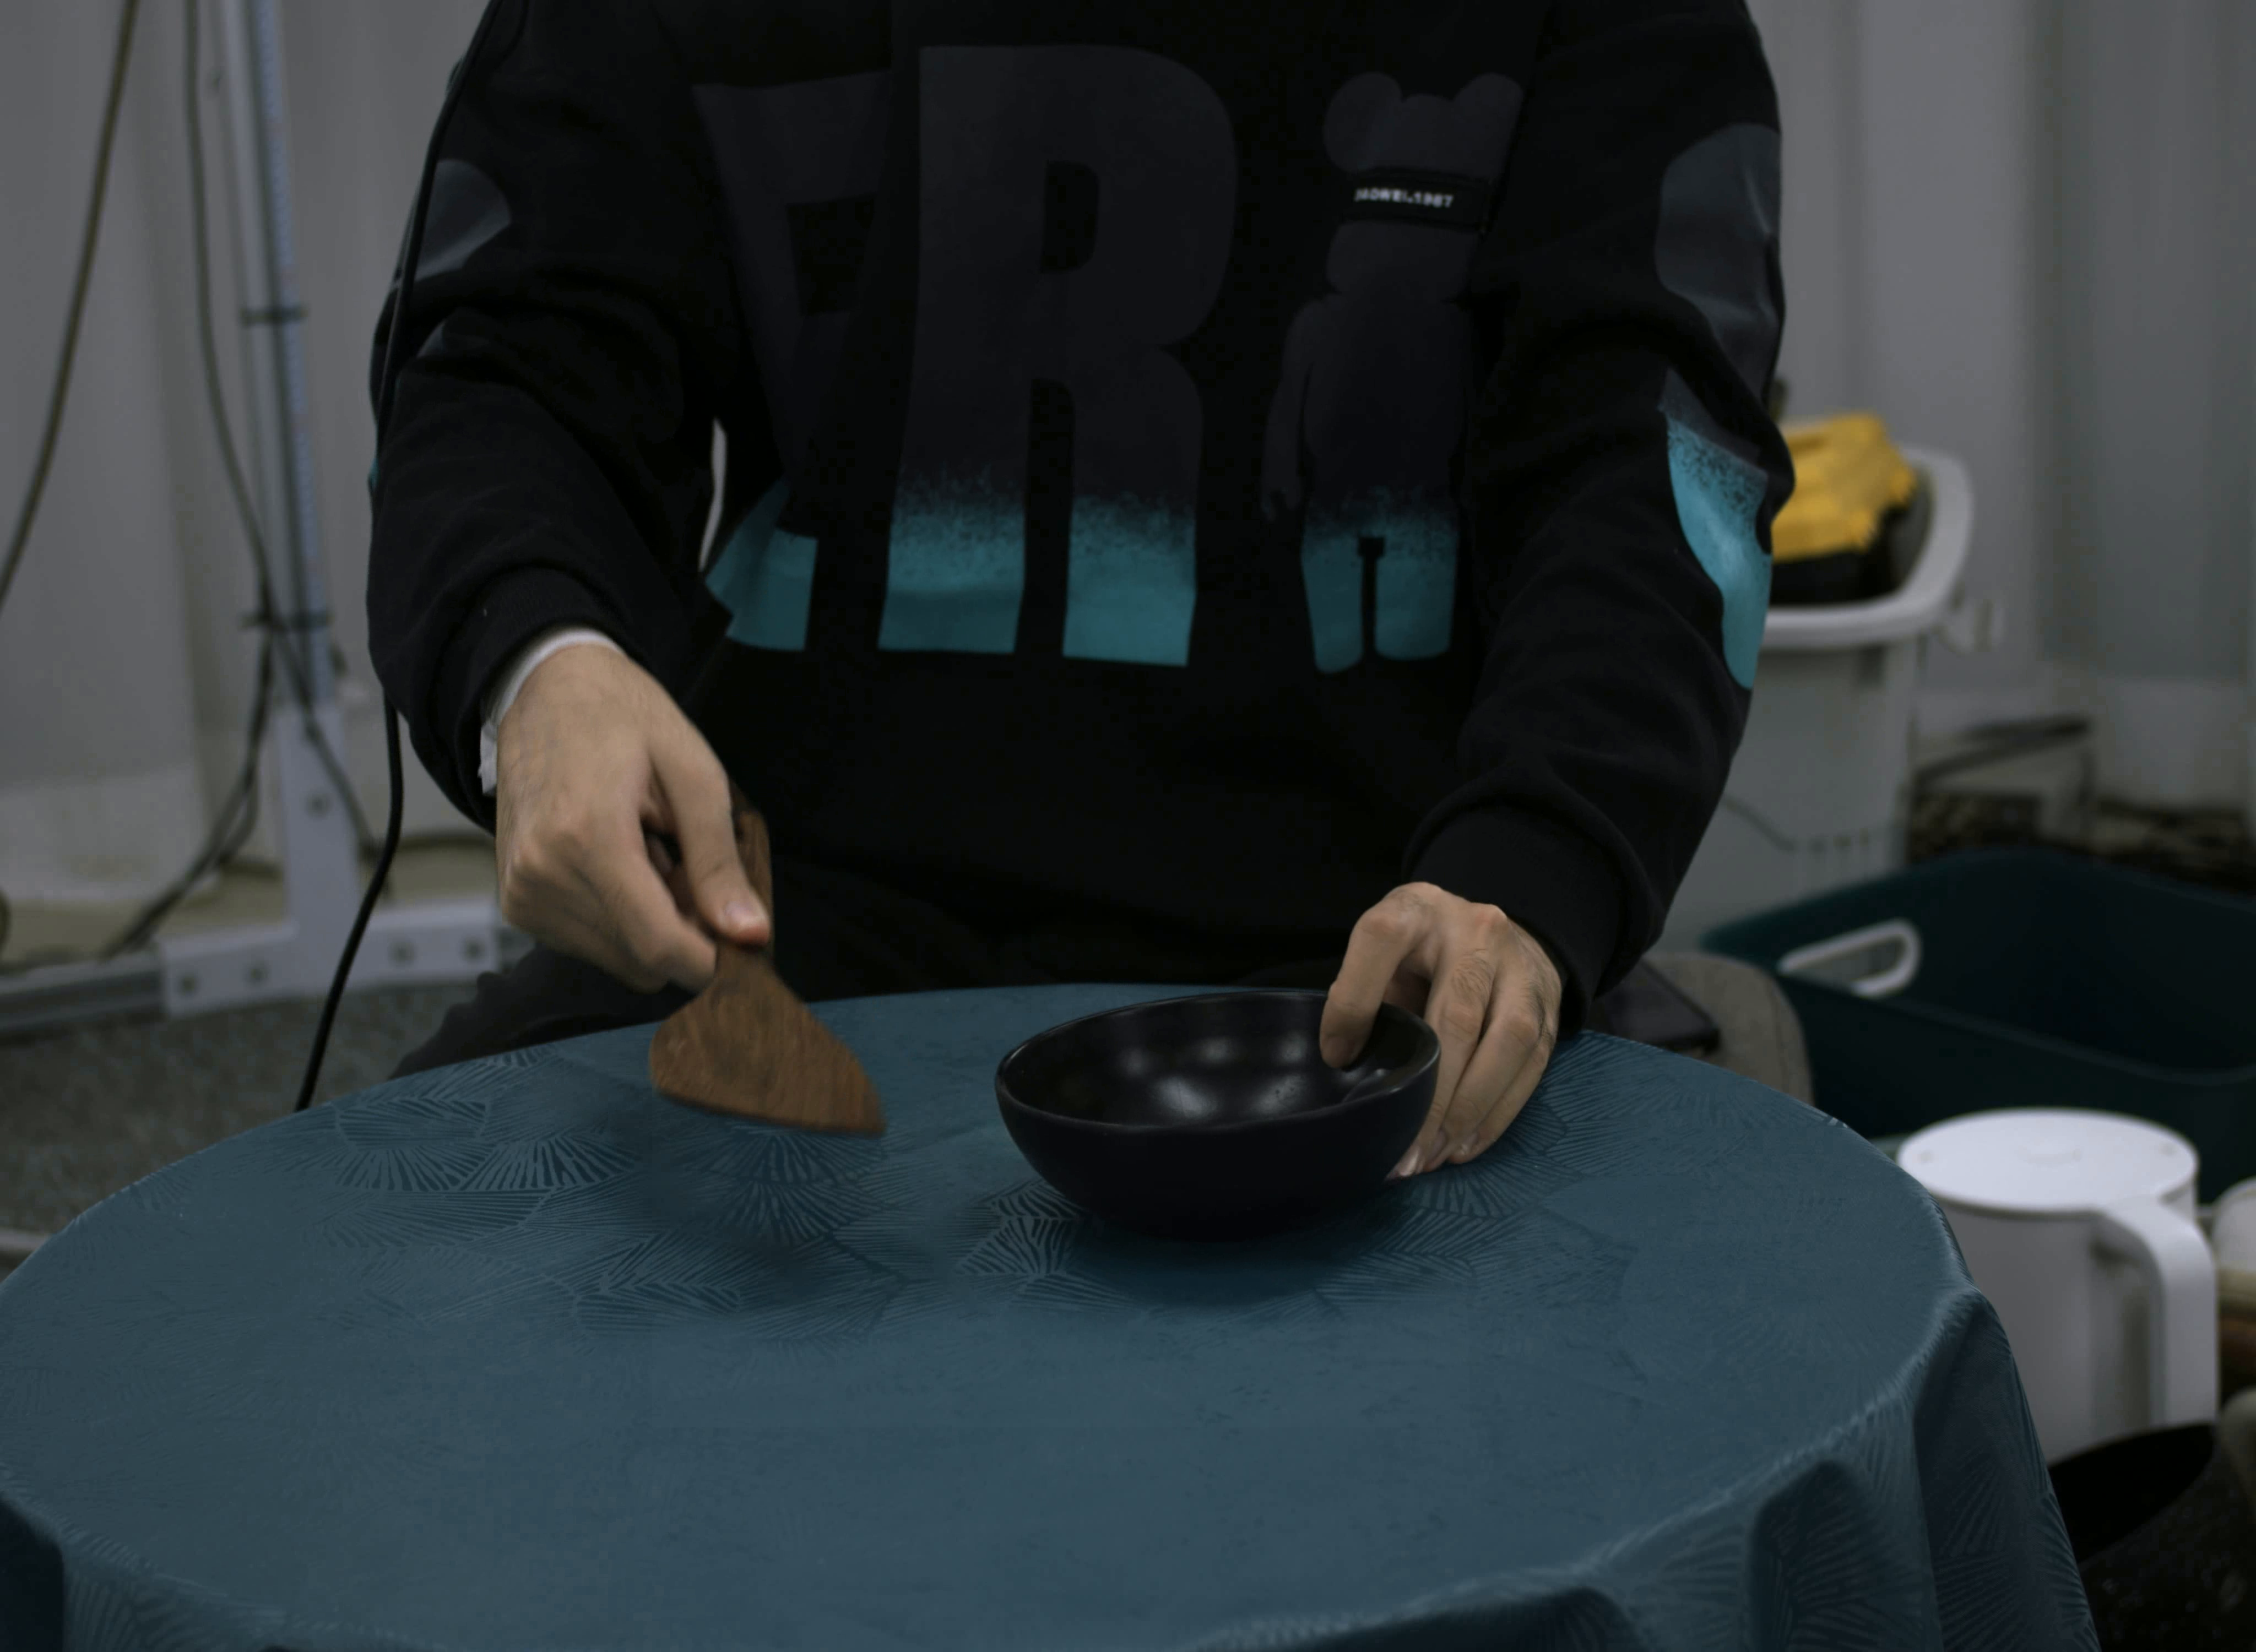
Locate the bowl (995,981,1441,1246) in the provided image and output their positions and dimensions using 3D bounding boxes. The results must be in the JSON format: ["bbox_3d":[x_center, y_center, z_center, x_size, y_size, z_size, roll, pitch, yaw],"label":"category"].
[{"bbox_3d":[0.031,0.094,1.686,0.139,0.049,0.141,-7,16,2],"label":"bowl"}]

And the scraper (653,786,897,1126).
[{"bbox_3d":[-0.119,0.039,1.726,0.075,0.011,0.214,11,26,-14],"label":"scraper"}]
